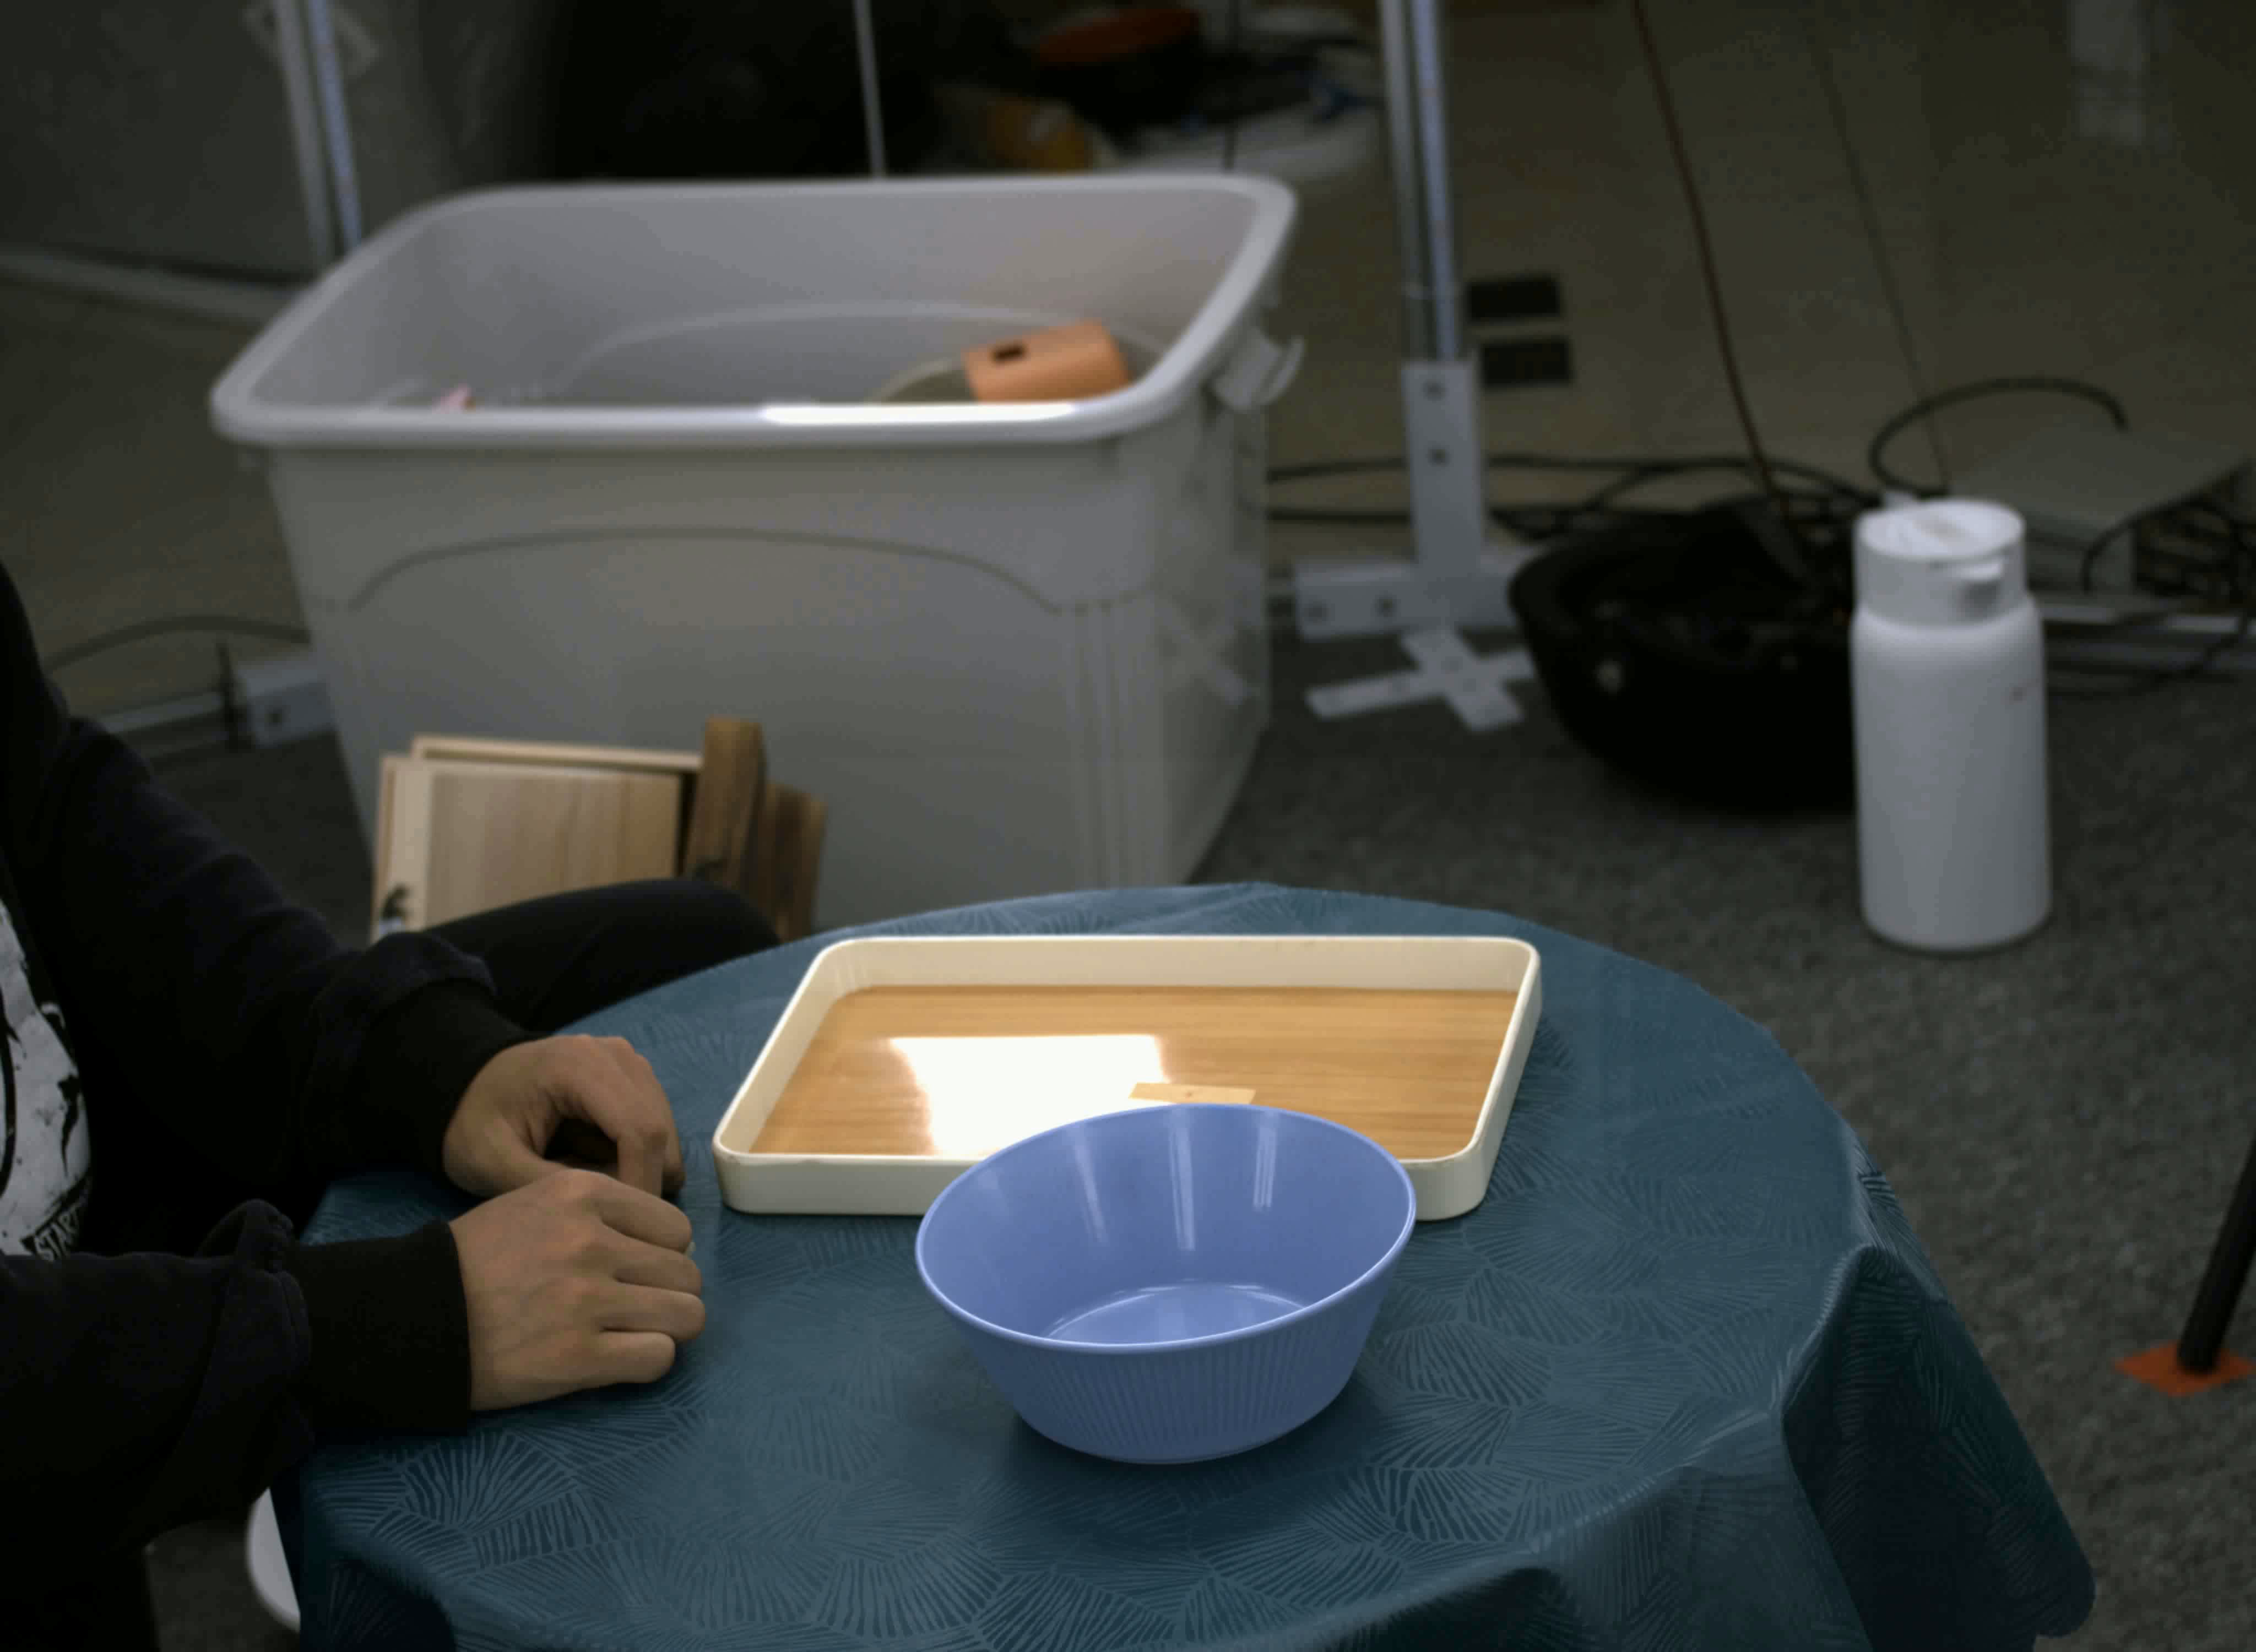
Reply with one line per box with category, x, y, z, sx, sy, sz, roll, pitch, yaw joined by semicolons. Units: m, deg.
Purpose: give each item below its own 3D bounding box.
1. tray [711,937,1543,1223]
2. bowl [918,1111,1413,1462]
tray;0.003;0.097;2.211;0.299;0.028;0.189;0;26;13
bowl;0.016;0.168;2.001;0.176;0.071;0.173;-5;24;2
